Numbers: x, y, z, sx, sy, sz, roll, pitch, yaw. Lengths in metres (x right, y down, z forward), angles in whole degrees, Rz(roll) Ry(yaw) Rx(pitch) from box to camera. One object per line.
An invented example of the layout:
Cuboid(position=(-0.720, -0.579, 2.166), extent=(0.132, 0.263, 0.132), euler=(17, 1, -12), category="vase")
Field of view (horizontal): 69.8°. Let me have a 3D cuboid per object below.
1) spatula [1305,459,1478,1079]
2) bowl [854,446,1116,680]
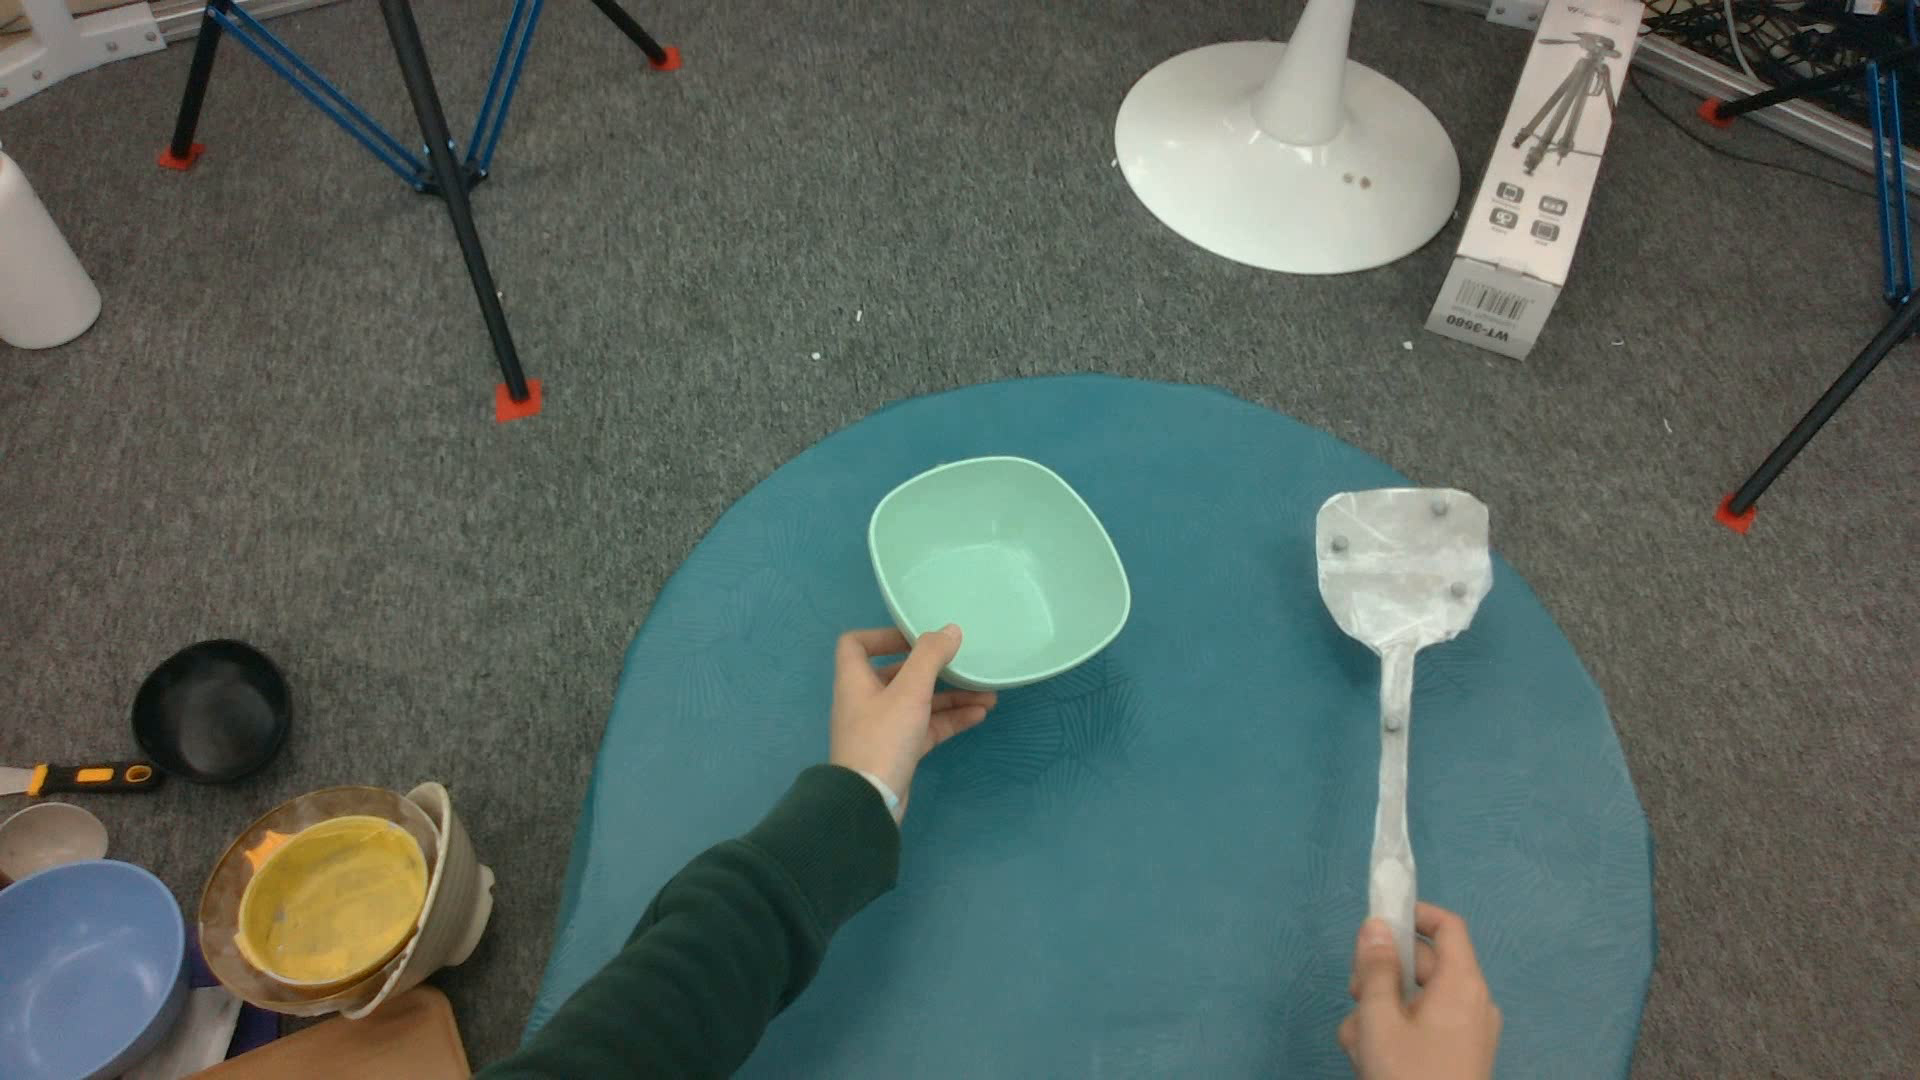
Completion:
Cuboid(position=(0.223, 0.106, 0.727), extent=(0.098, 0.044, 0.367), euler=(-1, 50, 21), category="spatula")
Cuboid(position=(0.007, 0.021, 0.770), extent=(0.151, 0.058, 0.152), euler=(10, 55, -14), category="bowl")
